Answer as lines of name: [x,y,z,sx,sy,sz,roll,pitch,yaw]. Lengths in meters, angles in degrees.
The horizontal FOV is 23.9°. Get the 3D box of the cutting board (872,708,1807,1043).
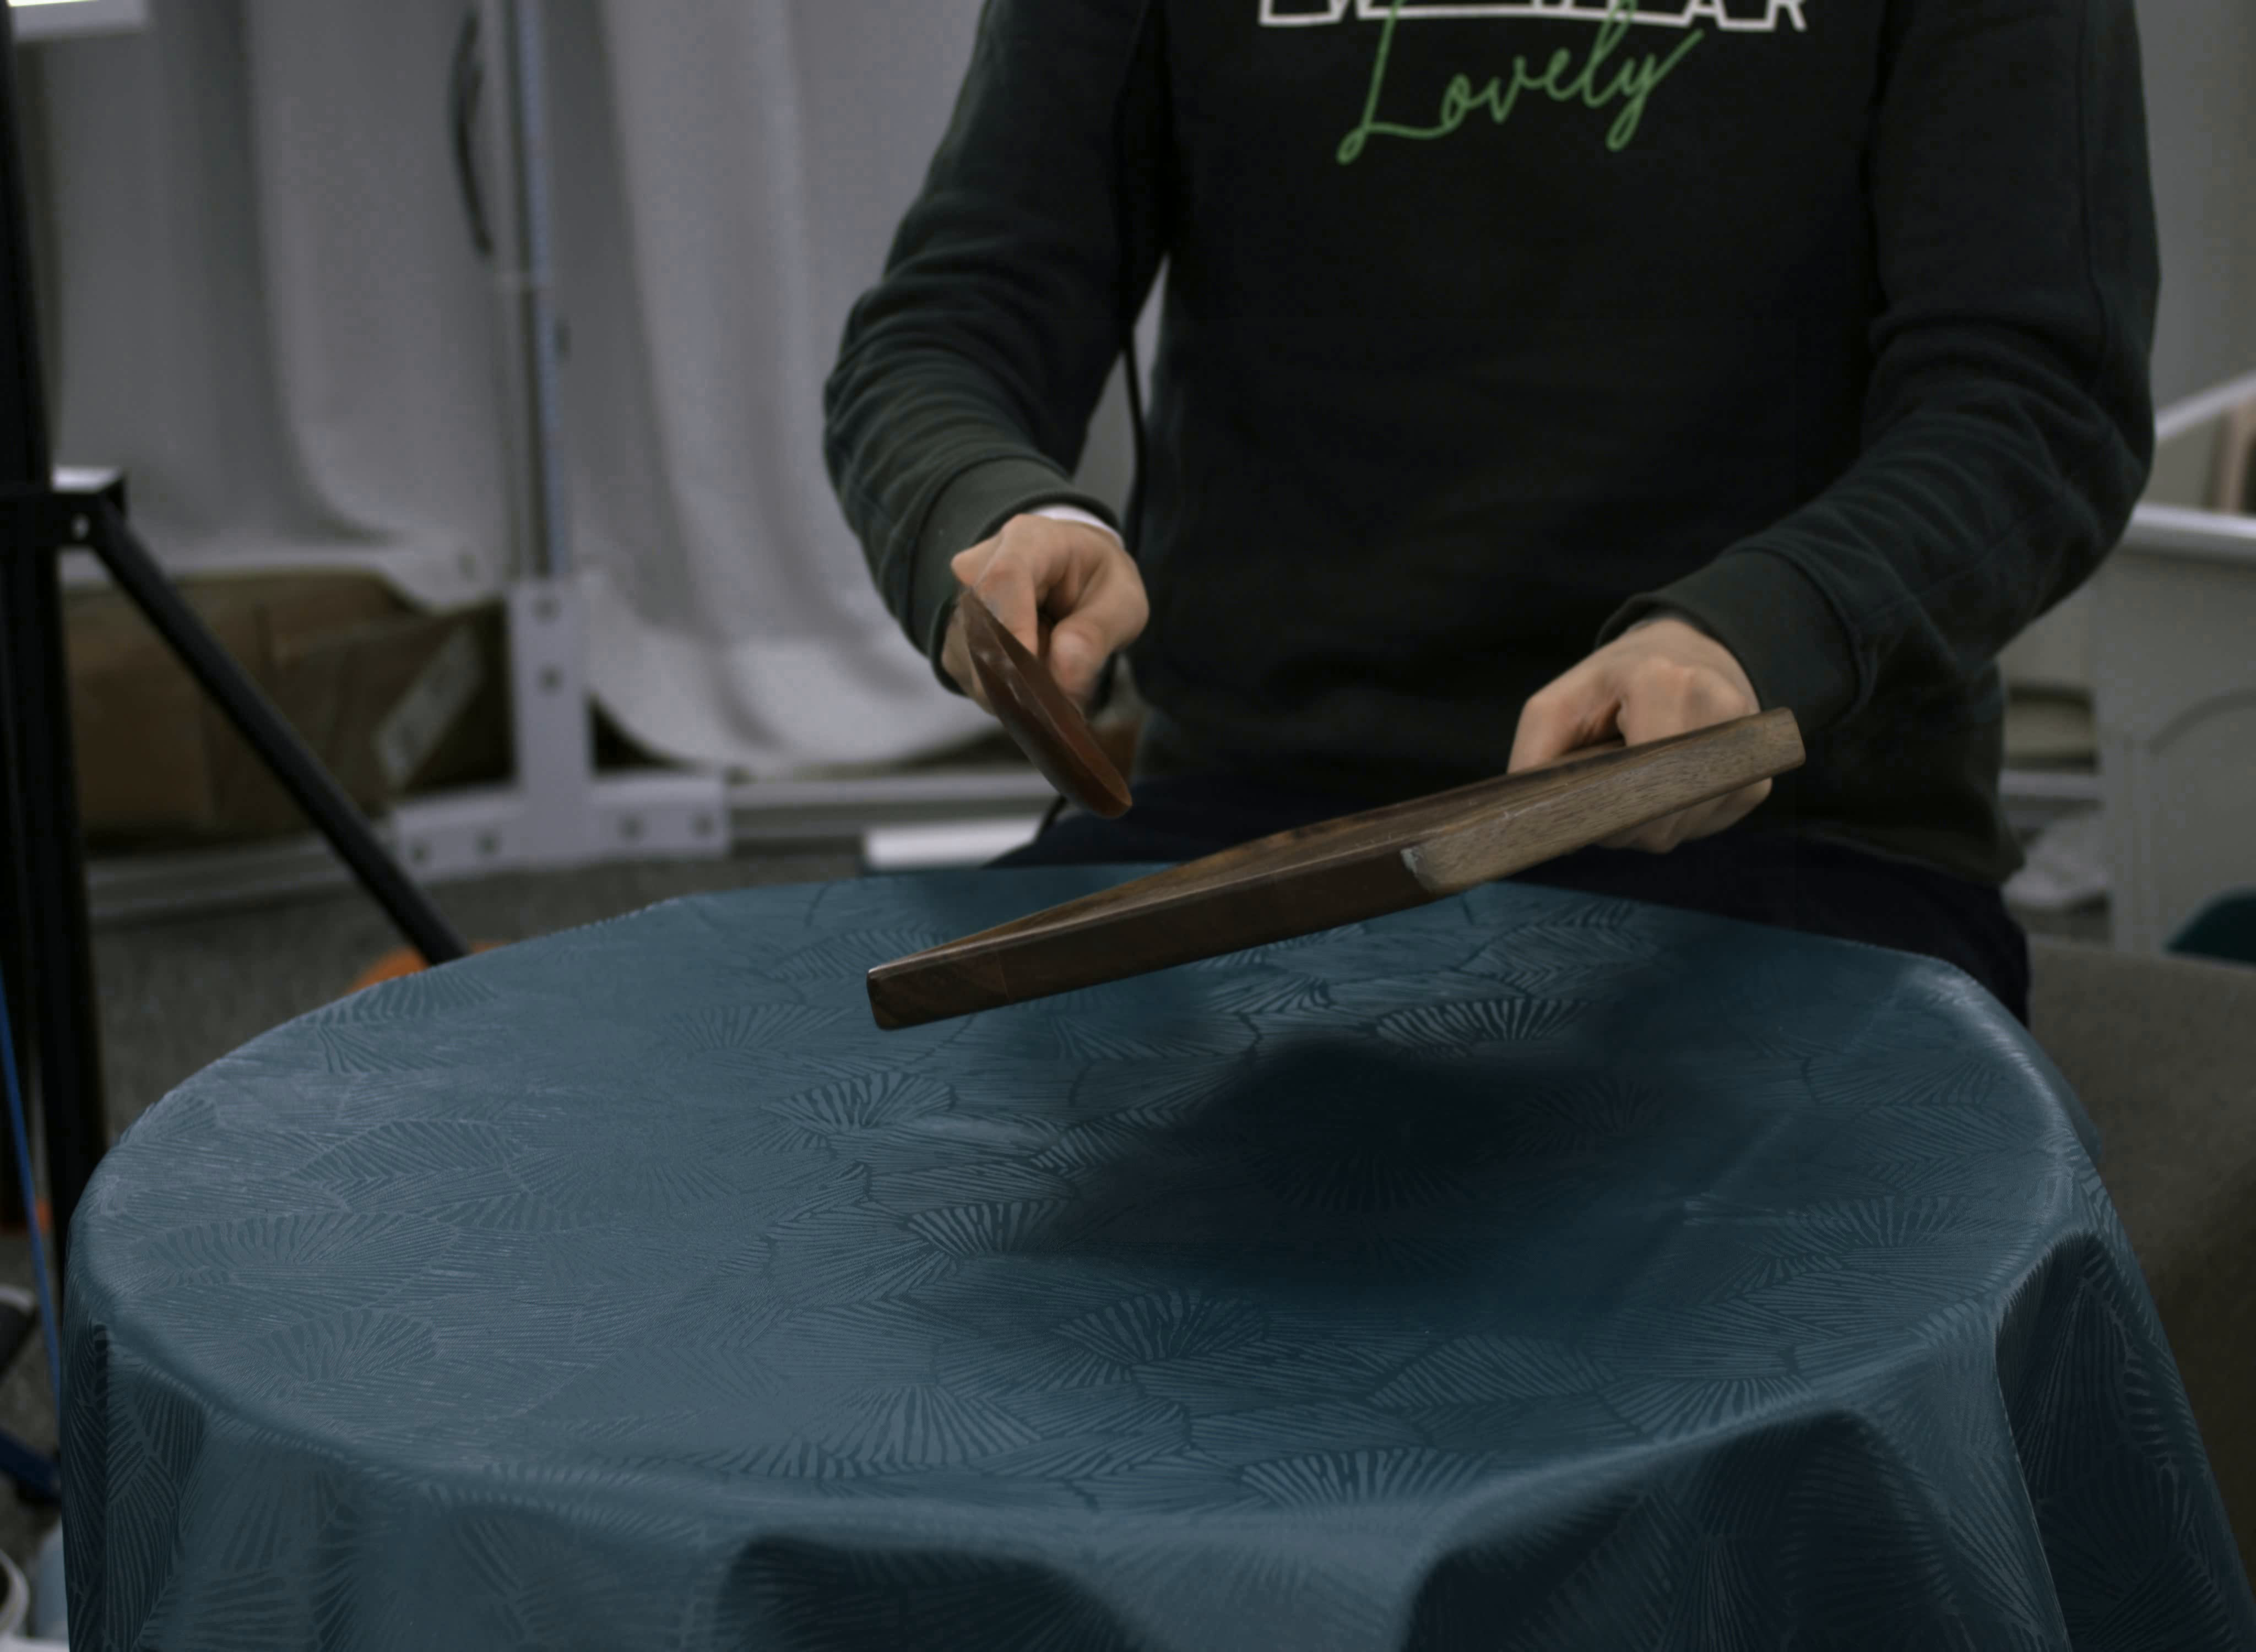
cutting board: [0.090,0.006,1.596,0.204,0.023,0.345,-15,1,31]

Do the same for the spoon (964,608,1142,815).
spoon: [-0.025,-0.042,1.662,0.017,0.075,0.216,-41,8,7]
